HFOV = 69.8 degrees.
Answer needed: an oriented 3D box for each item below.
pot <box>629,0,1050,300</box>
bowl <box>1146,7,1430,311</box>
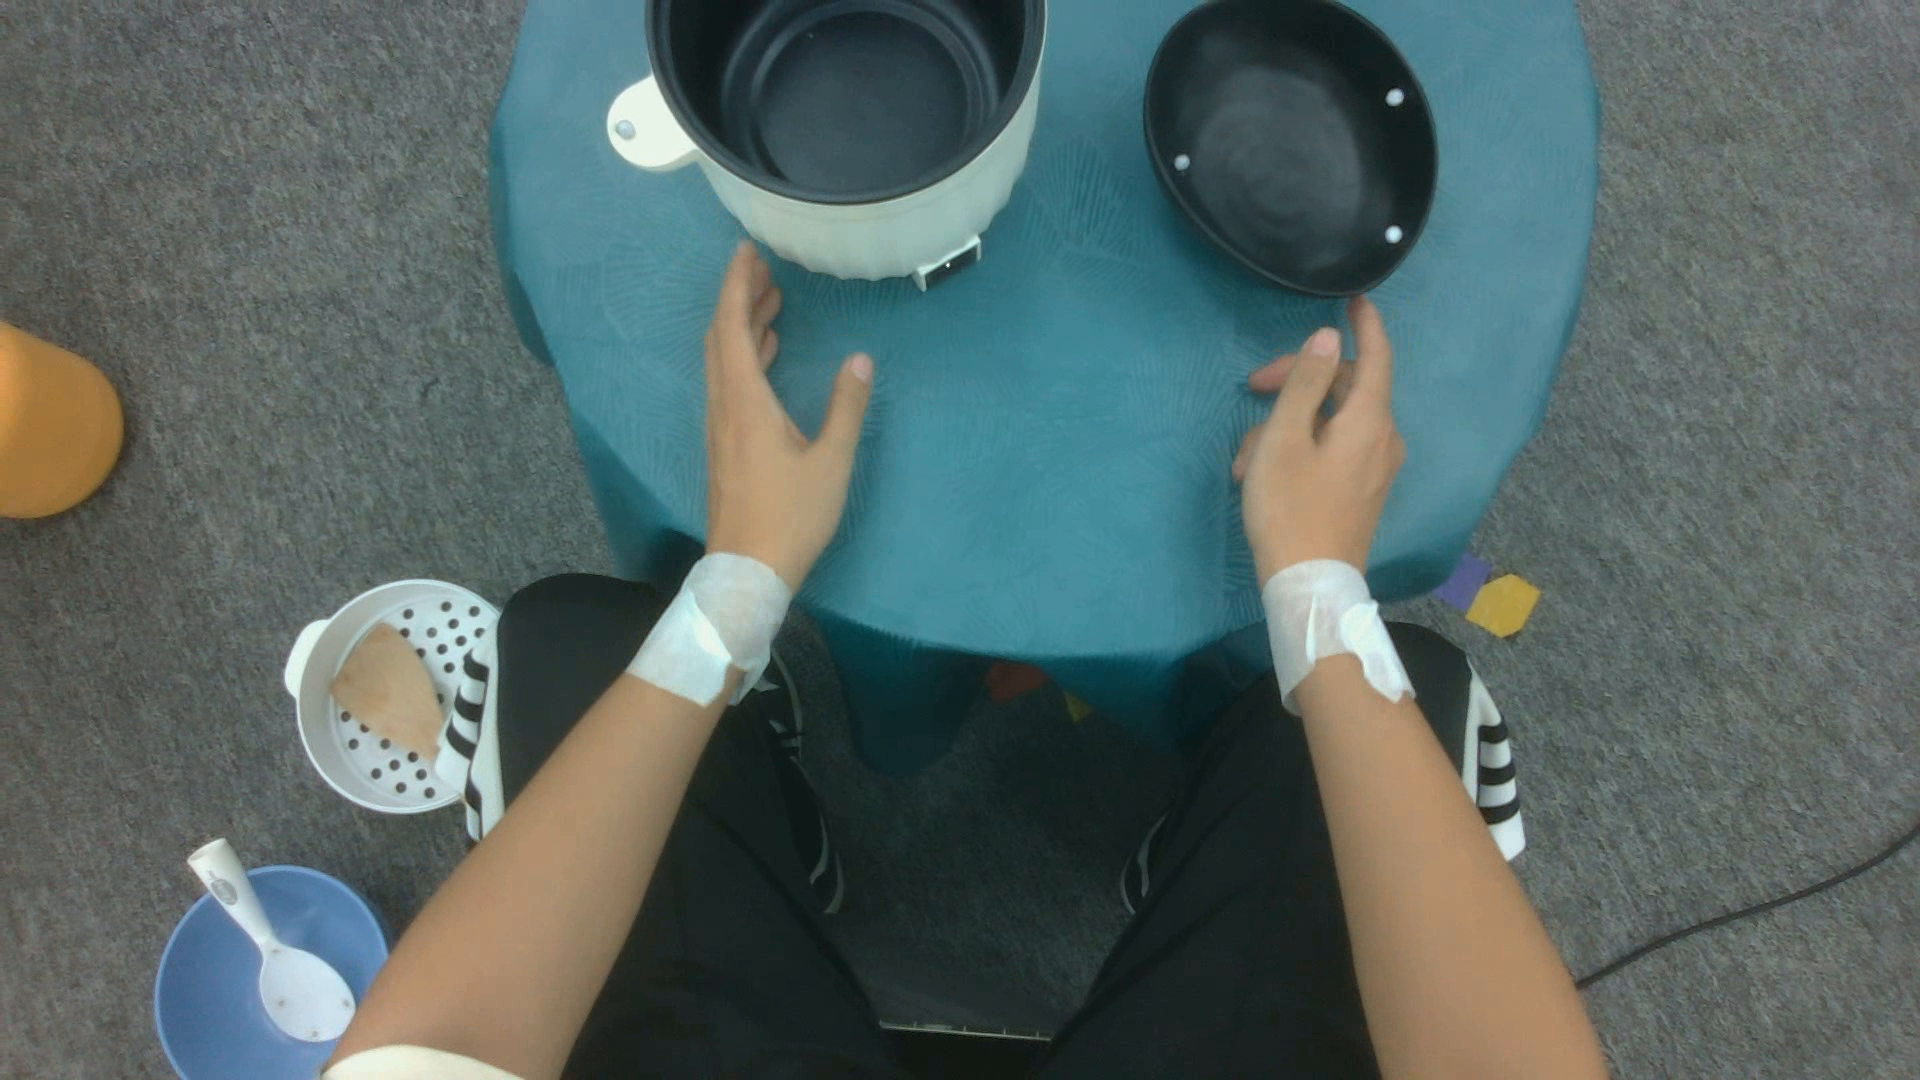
[{"bbox_3d":[-0.051,-0.226,0.706,0.240,0.142,0.190,-31,84,-5],"label":"pot"},{"bbox_3d":[0.170,-0.195,0.731,0.137,0.066,0.170,-31,81,-3],"label":"bowl"}]
